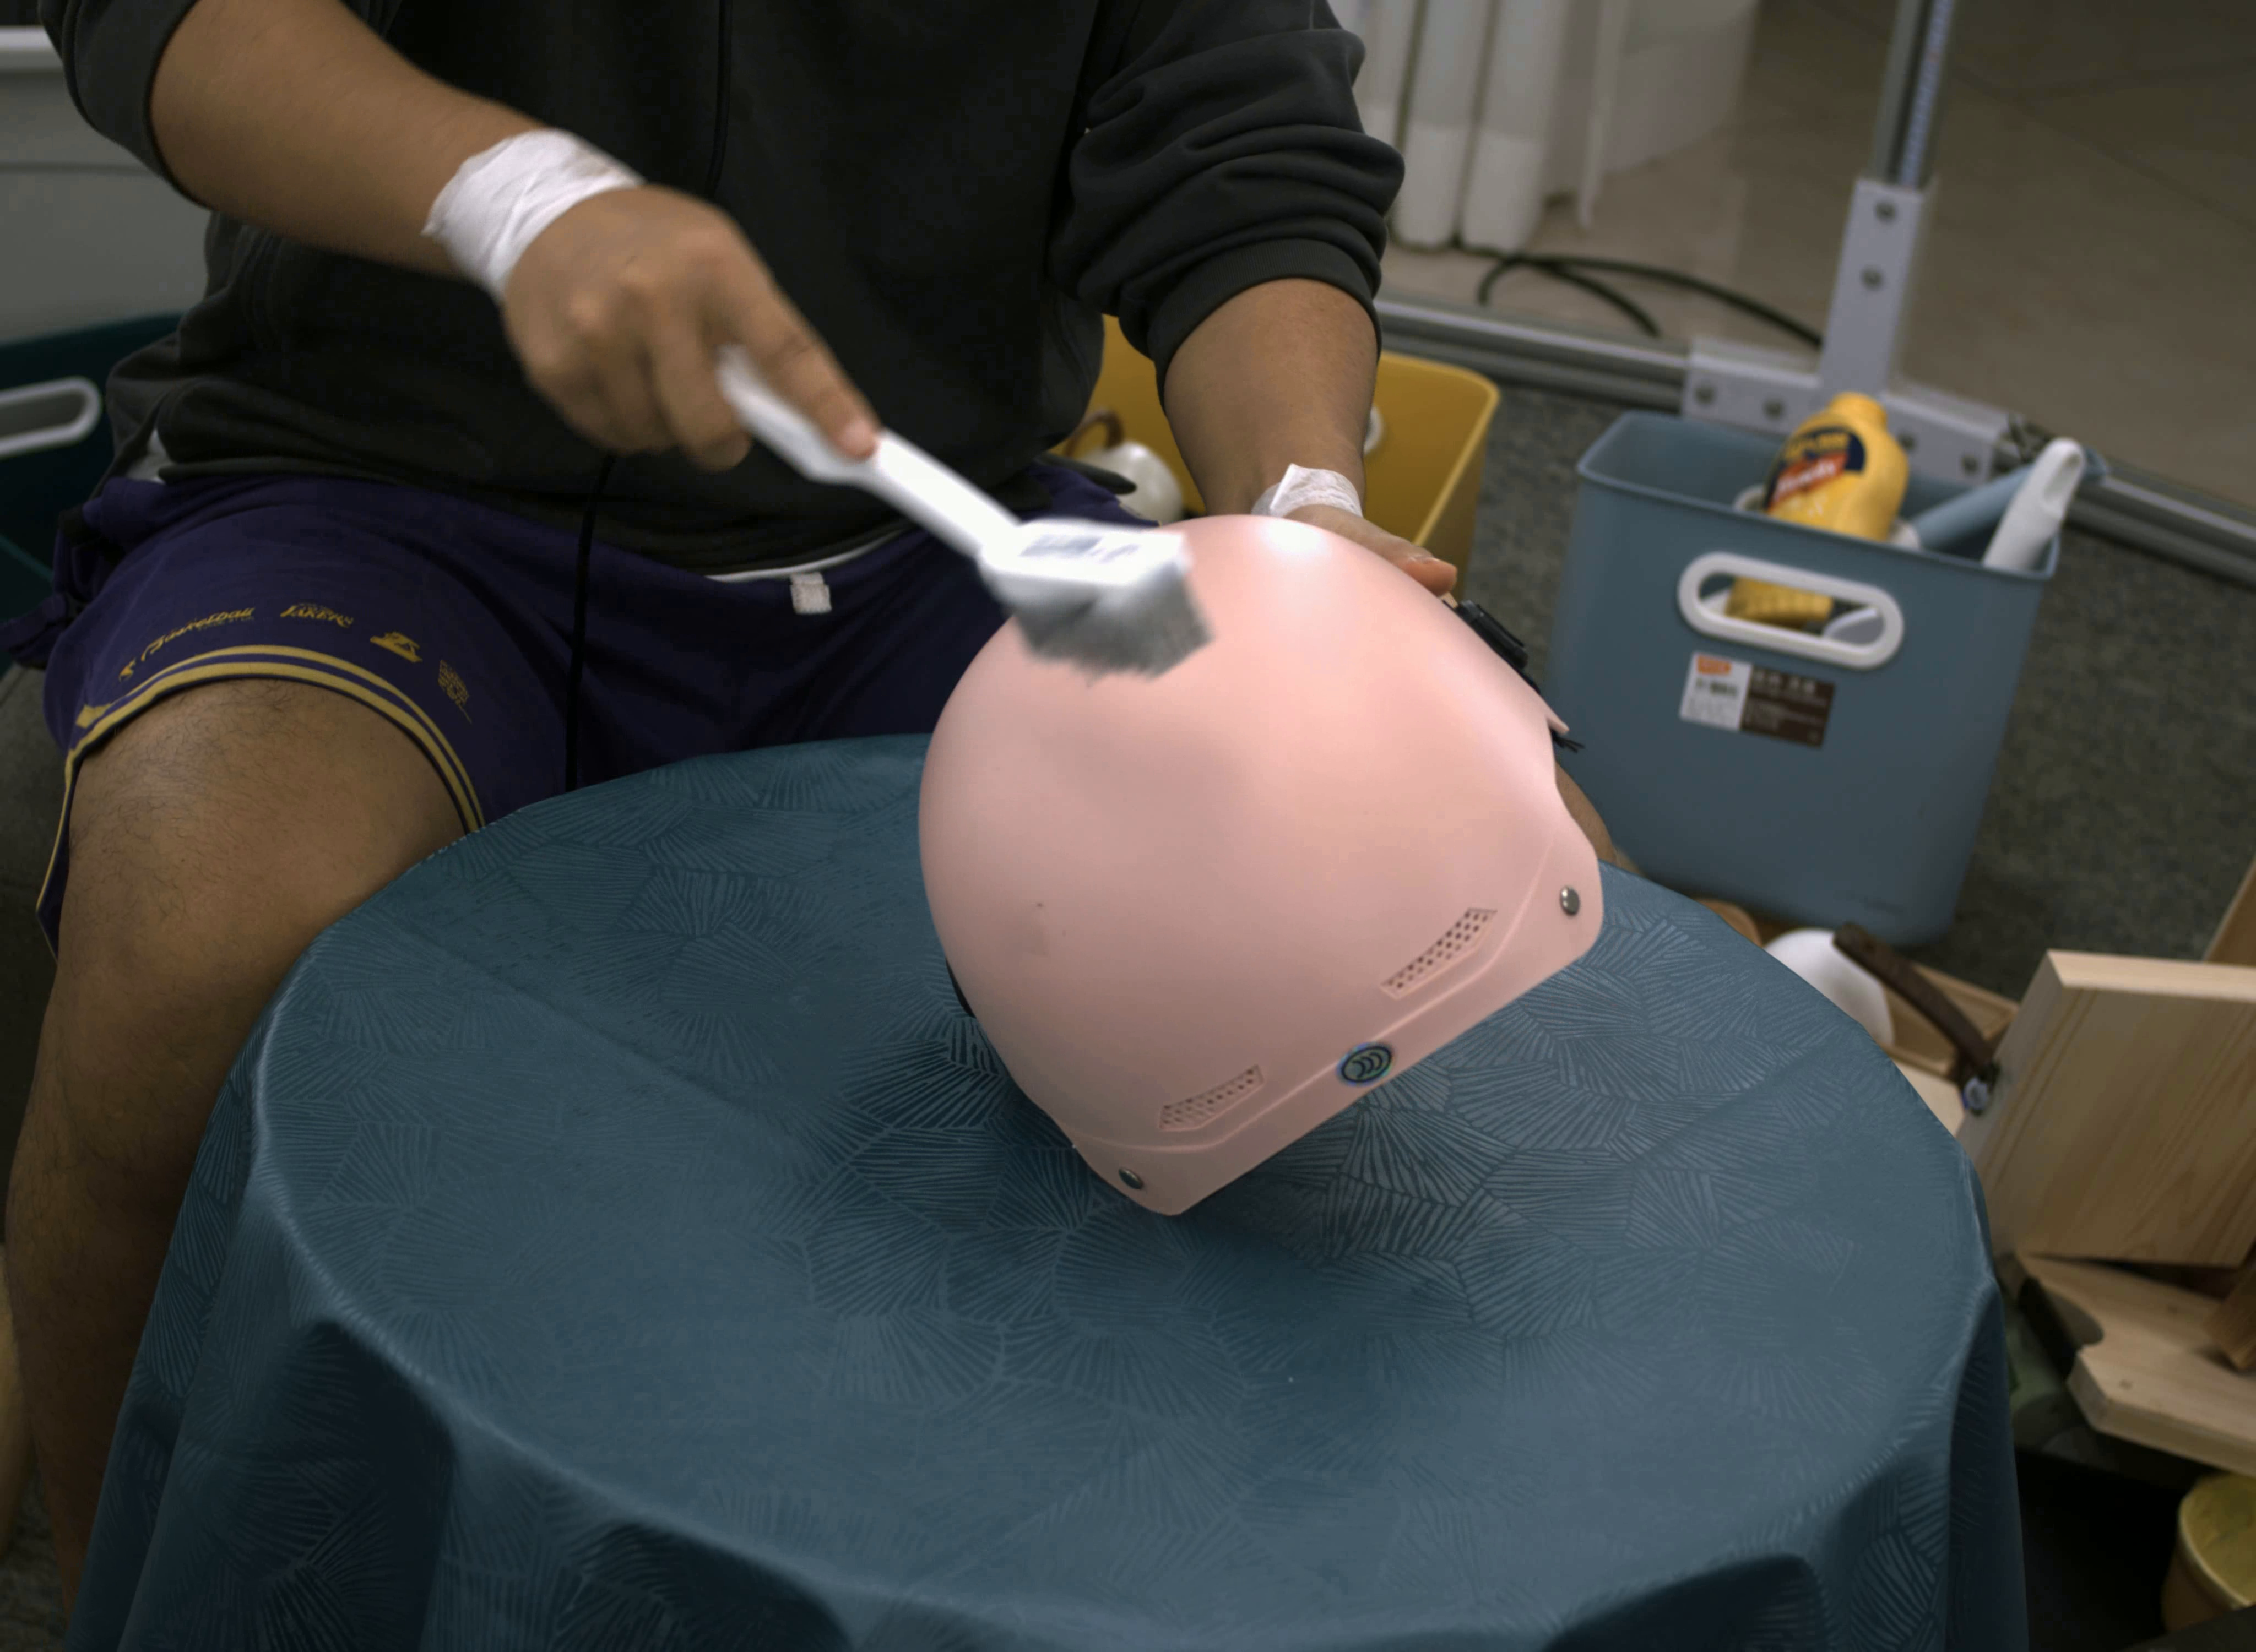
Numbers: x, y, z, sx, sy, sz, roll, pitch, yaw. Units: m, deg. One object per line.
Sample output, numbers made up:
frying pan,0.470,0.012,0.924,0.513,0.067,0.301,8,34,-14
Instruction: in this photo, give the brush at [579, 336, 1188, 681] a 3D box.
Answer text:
brush,-0.082,-0.099,1.694,0.245,0.050,0.034,24,45,33

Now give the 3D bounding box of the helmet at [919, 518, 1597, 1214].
helmet,0.023,-0.015,1.807,0.234,0.157,0.268,-33,33,7
